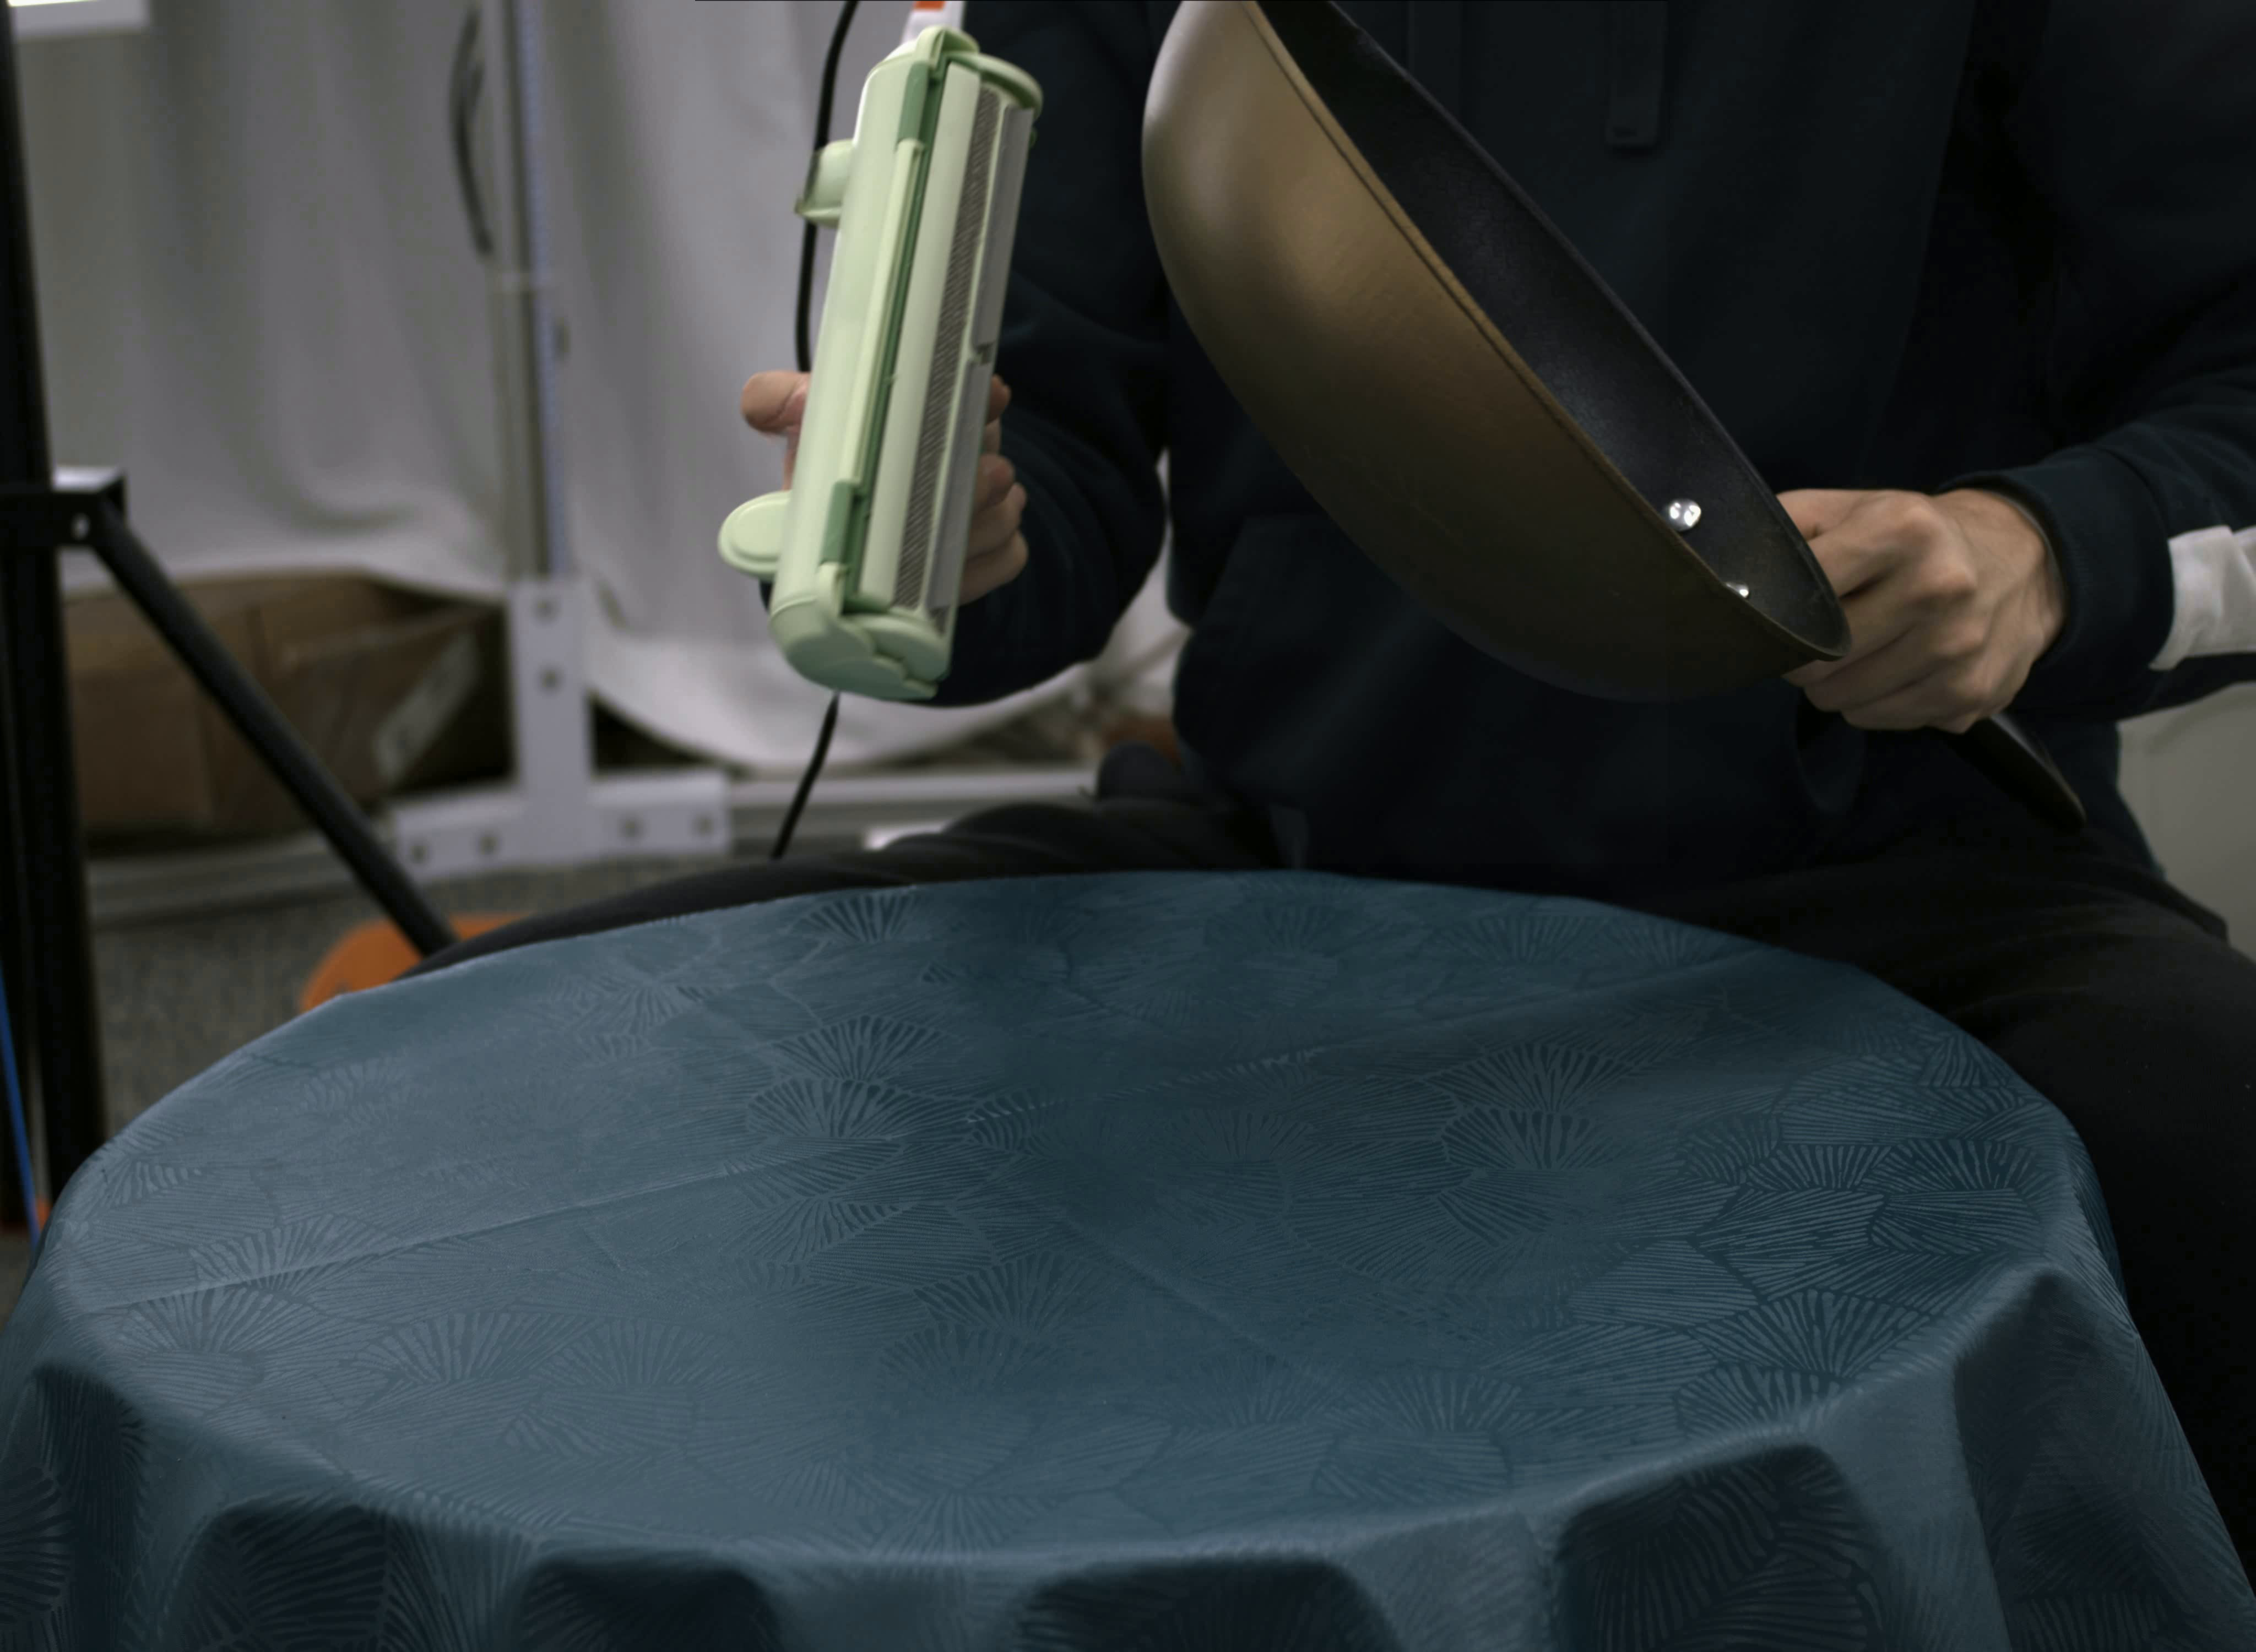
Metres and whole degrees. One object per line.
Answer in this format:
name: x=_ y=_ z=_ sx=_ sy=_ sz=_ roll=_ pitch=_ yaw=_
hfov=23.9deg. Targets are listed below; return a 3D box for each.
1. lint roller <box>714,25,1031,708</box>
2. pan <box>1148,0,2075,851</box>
lint roller: x=-0.077 y=-0.117 z=1.620 sx=0.082 sy=0.200 sz=0.183 roll=9 pitch=-20 yaw=-1
pan: x=0.145 y=-0.093 z=1.609 sx=0.087 sy=0.452 sz=0.293 roll=-39 pitch=42 yaw=14
